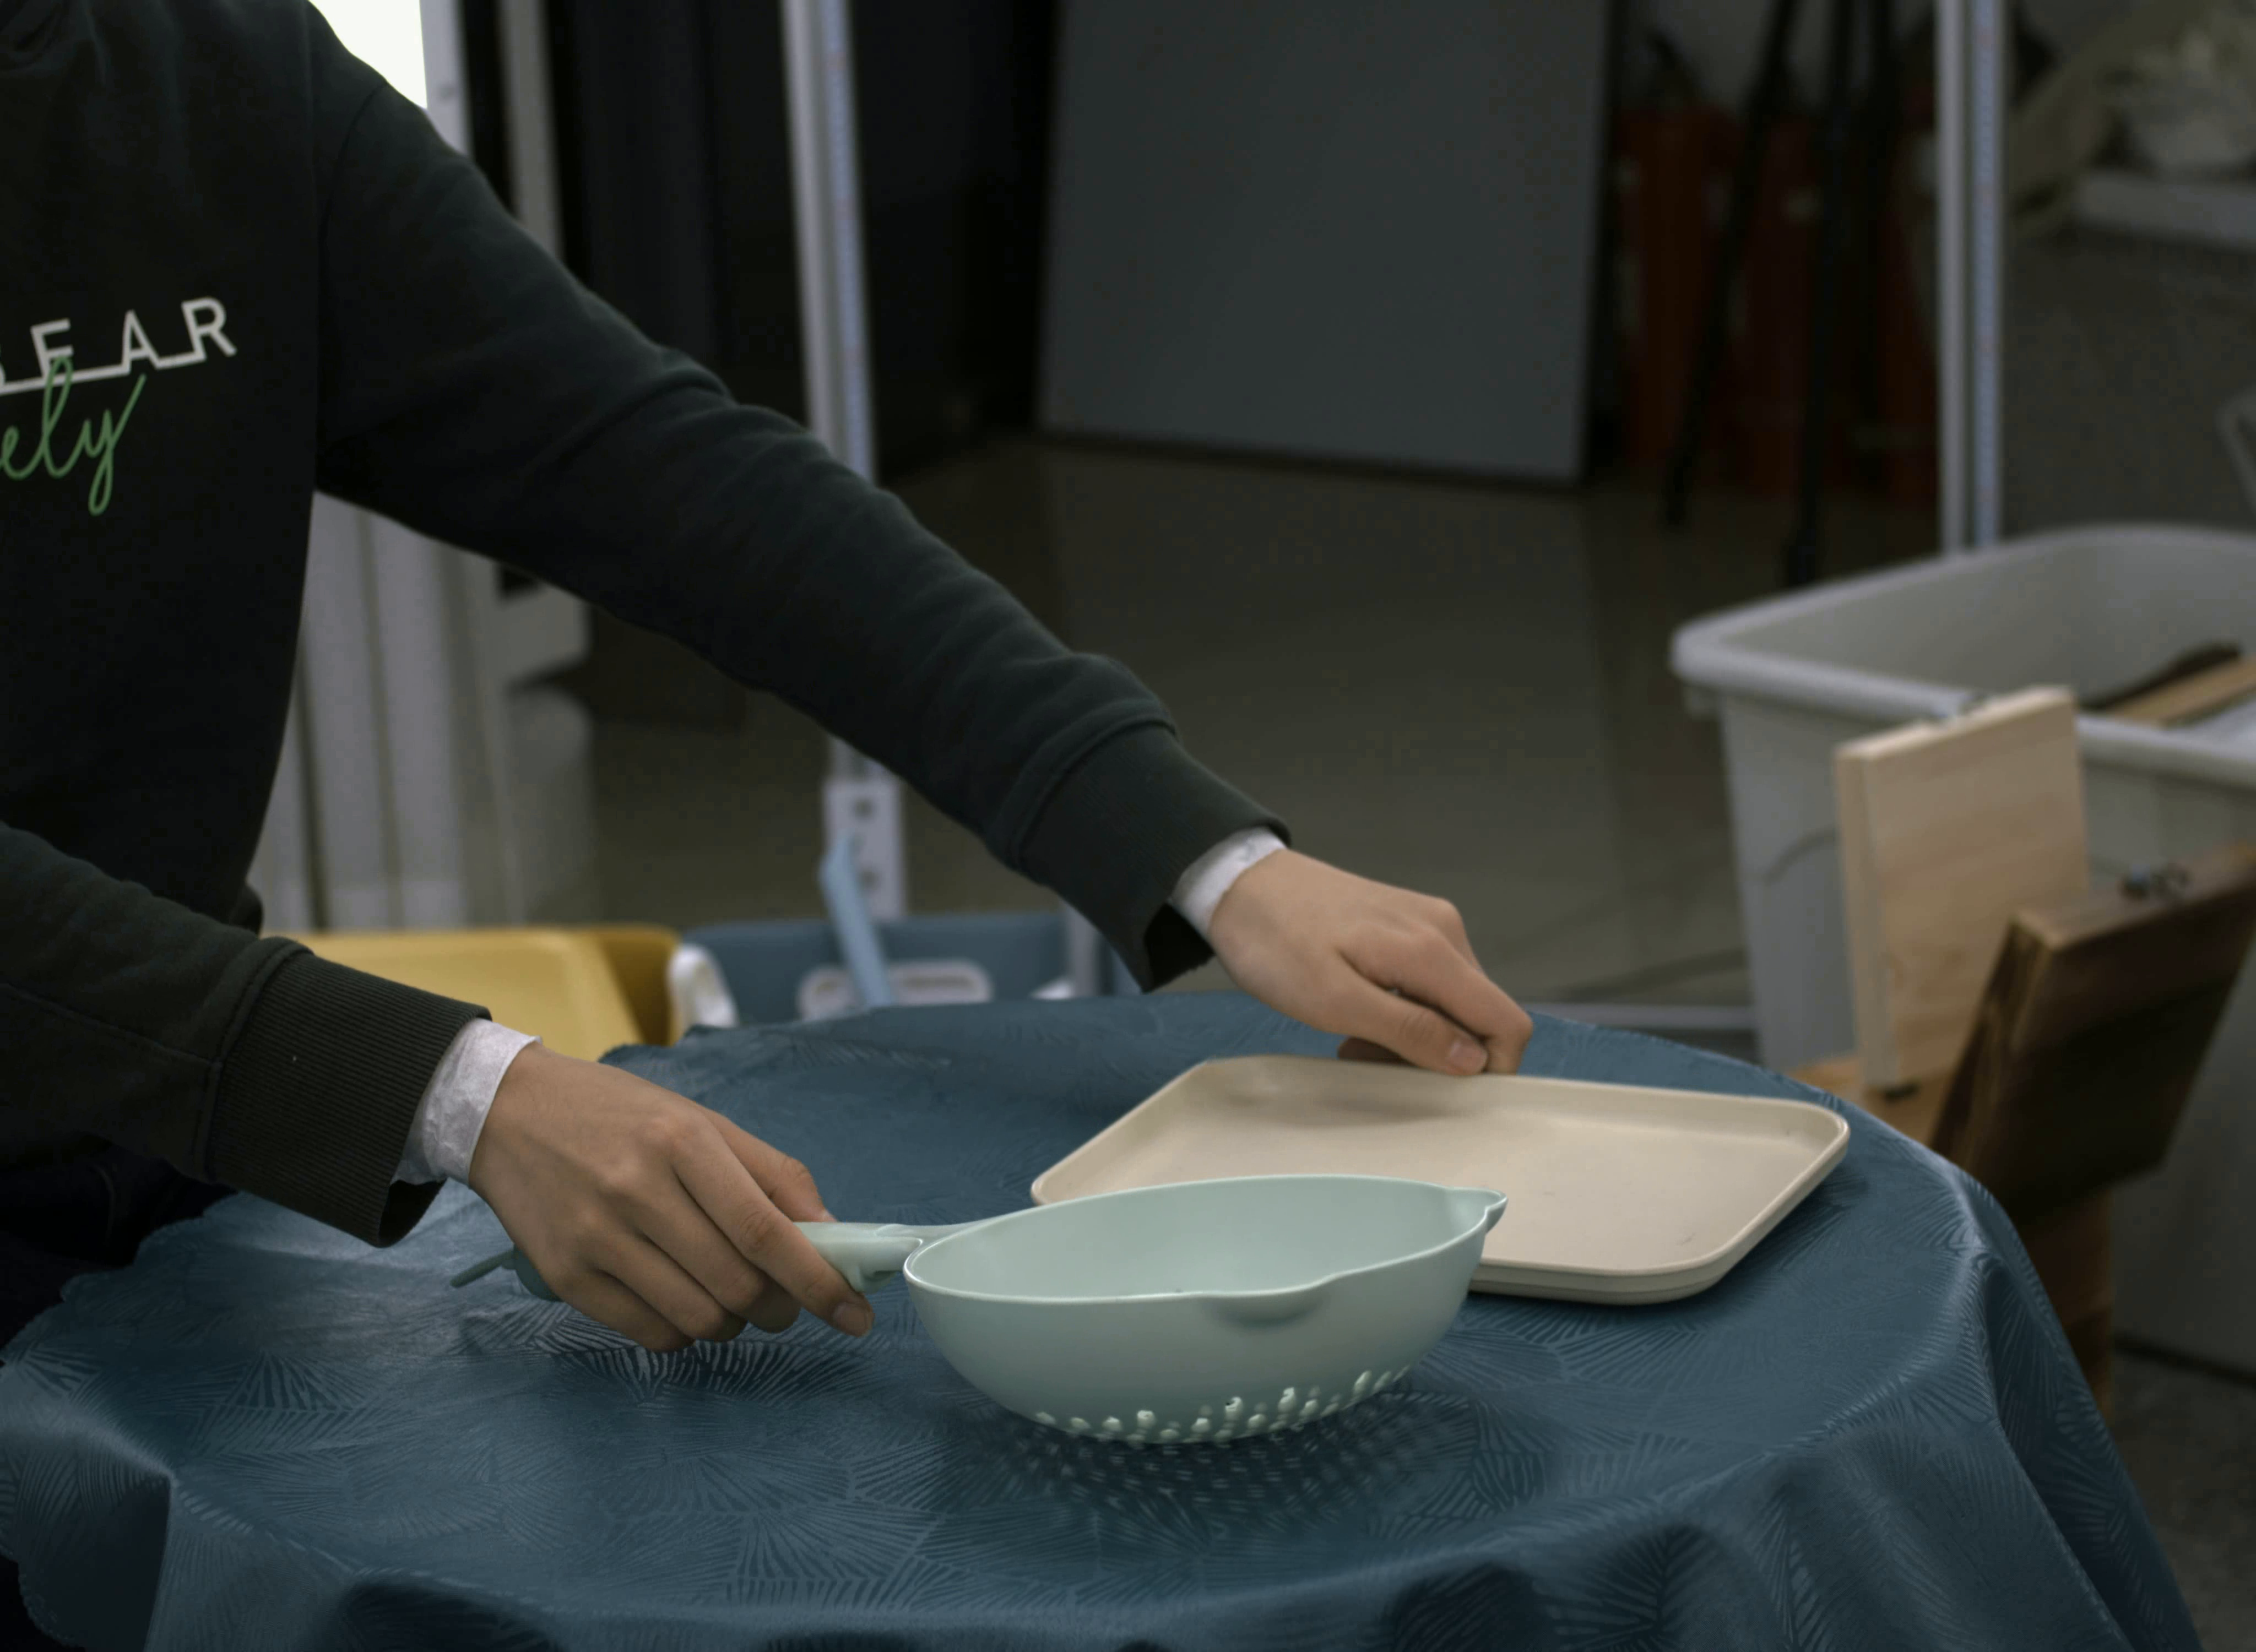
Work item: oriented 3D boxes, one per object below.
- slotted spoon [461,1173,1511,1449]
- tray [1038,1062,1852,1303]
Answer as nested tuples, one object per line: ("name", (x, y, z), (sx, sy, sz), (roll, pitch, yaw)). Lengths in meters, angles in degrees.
("slotted spoon", (-0.058, 0.132, 1.598), (0.361, 0.076, 0.166), (7, 11, 33))
("tray", (0.103, 0.114, 1.728), (0.240, 0.017, 0.169), (2, 17, 27))
